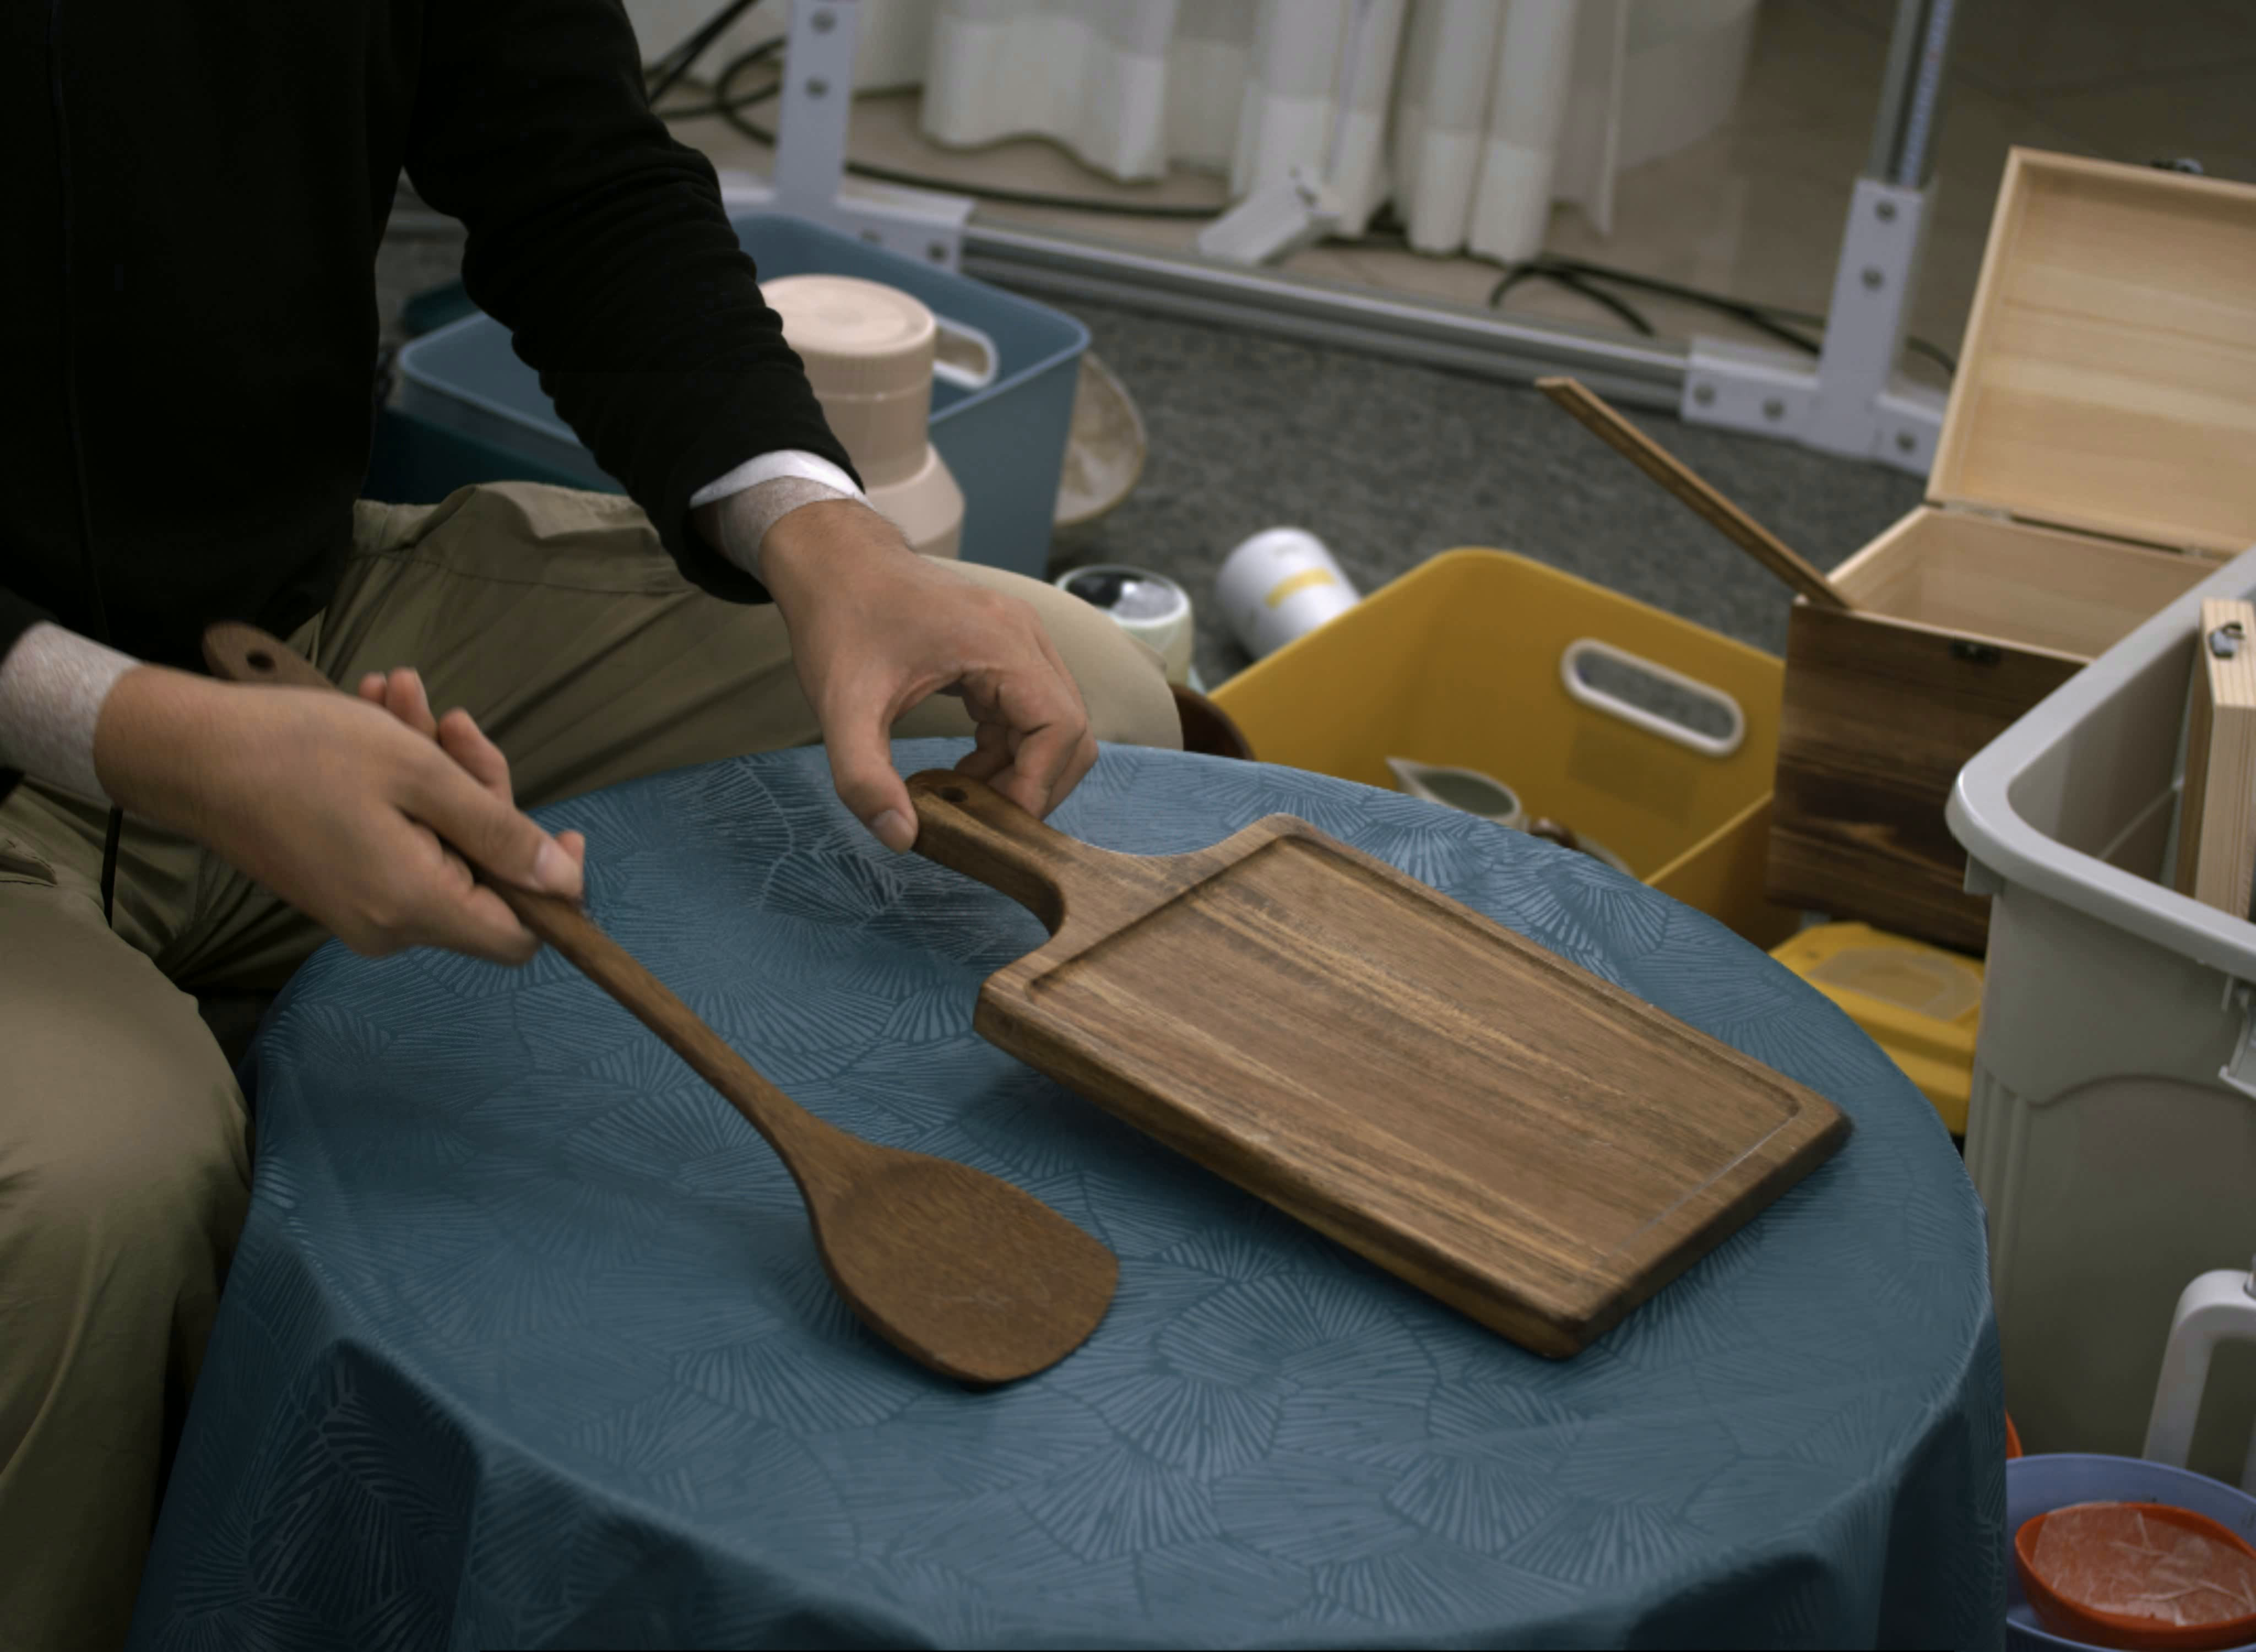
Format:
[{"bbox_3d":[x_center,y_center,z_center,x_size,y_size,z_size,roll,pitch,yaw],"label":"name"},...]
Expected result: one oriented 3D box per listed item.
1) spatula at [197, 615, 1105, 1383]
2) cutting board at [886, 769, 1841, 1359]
[{"bbox_3d":[-0.167,0.049,1.755,0.387,0.016,0.096,40,38,13],"label":"spatula"},{"bbox_3d":[0.059,0.063,1.873,0.354,0.023,0.200,28,33,25],"label":"cutting board"}]
